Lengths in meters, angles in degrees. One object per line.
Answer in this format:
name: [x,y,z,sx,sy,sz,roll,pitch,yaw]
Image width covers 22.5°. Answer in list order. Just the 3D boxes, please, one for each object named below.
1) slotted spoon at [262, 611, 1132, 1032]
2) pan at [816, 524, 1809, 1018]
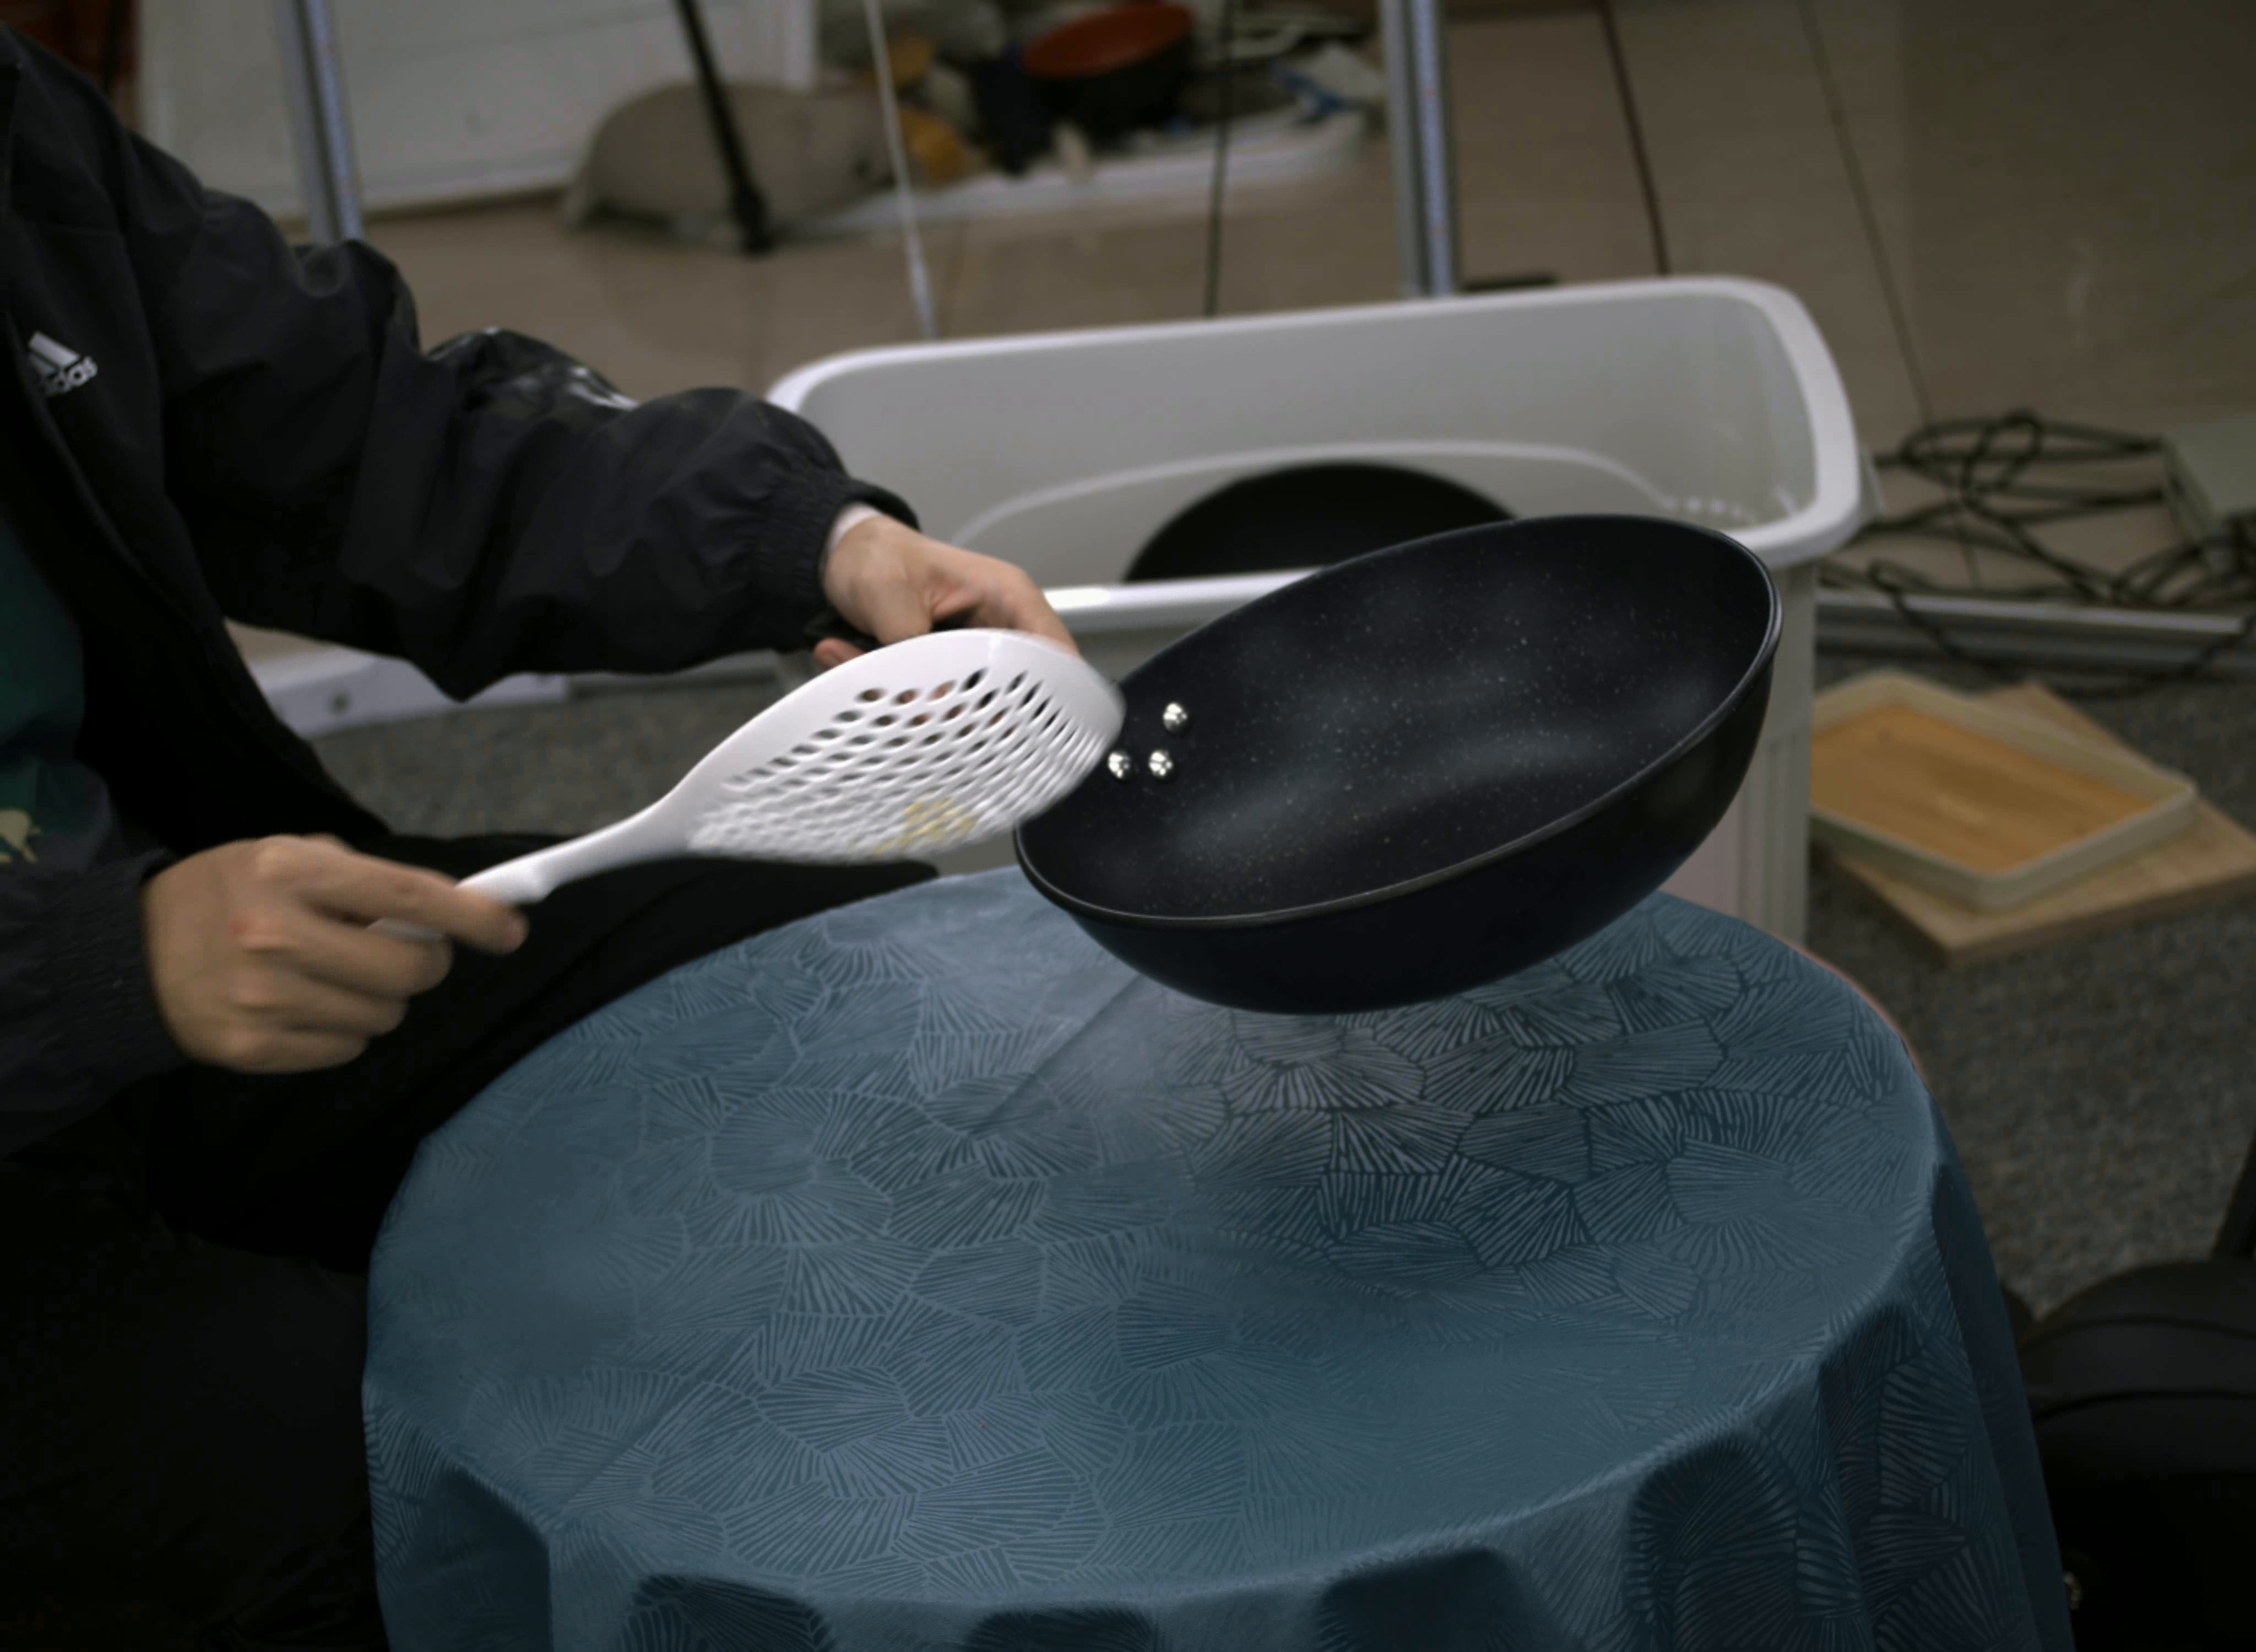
slotted spoon: [-0.161,0.005,2.057,0.348,0.050,0.138,-17,-21,17]
pan: [0.058,-0.024,2.229,0.475,0.113,0.307,6,34,44]
